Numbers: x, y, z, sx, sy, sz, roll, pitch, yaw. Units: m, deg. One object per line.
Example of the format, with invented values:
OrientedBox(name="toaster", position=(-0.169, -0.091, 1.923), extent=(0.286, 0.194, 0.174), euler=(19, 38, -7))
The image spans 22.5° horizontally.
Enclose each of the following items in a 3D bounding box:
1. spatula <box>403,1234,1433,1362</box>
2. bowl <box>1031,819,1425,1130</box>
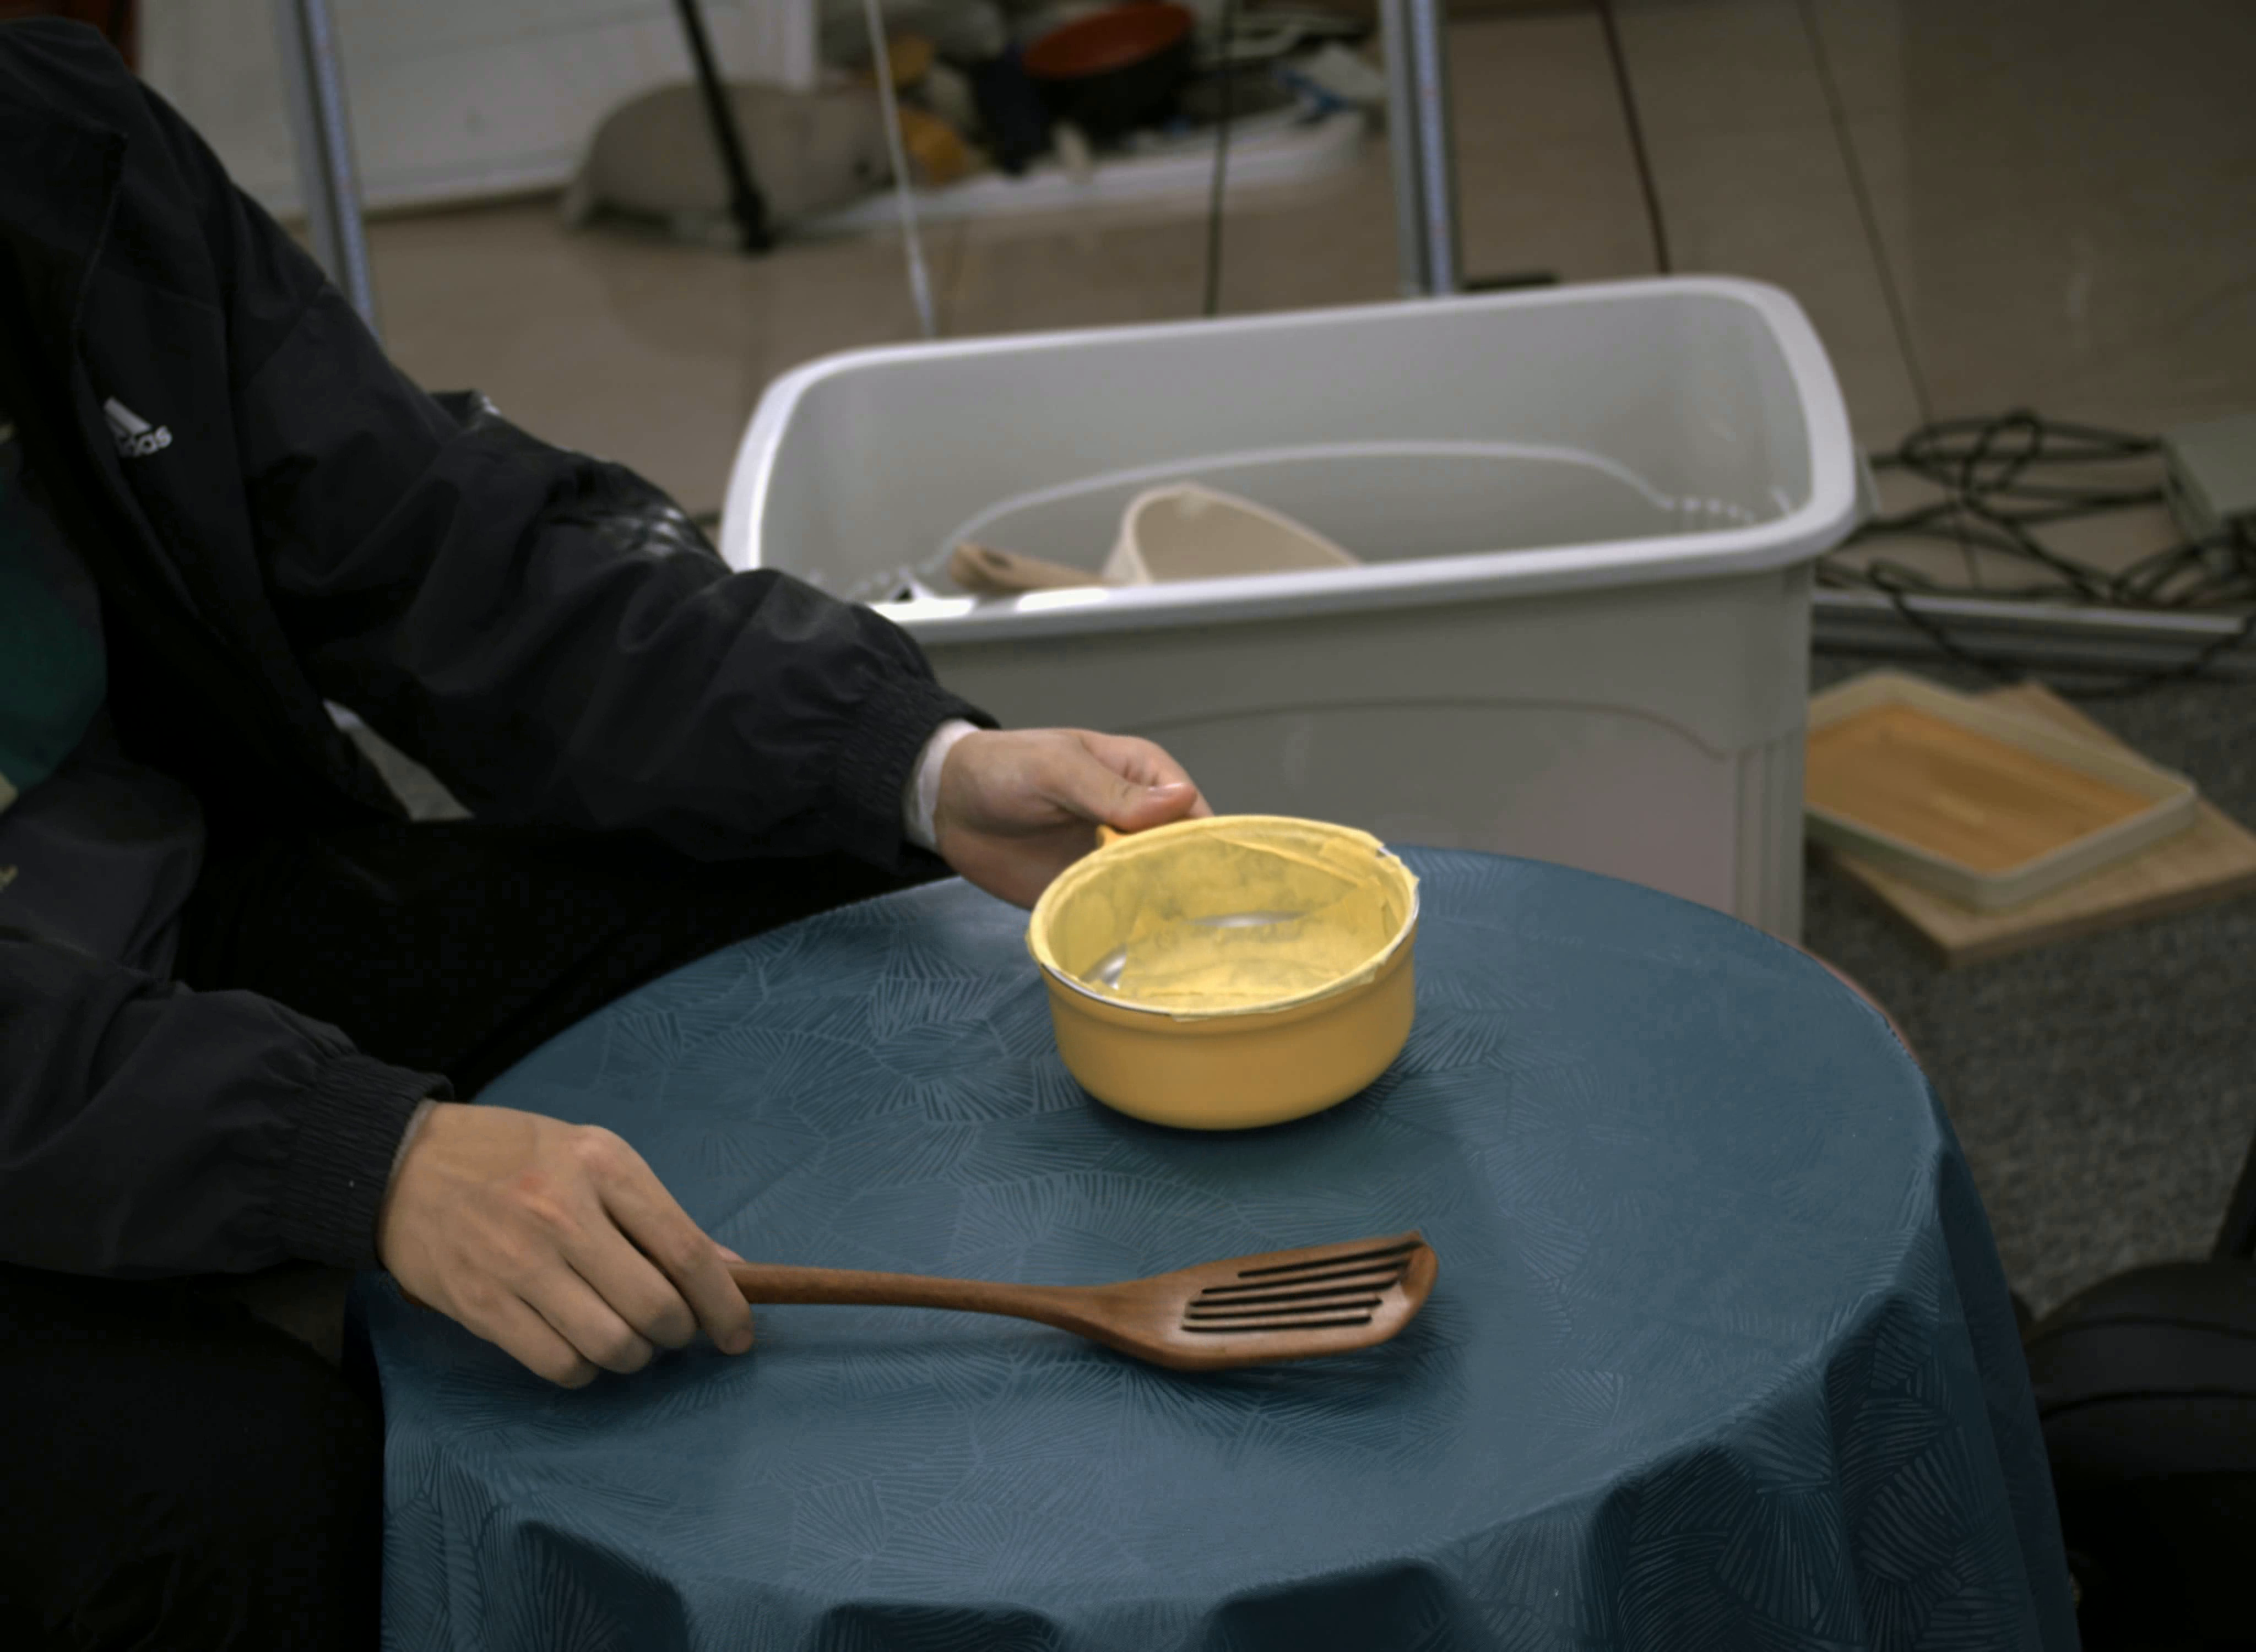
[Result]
OrientedBox(name="spatula", position=(-0.081, 0.168, 2.060), extent=(0.386, 0.024, 0.084), euler=(1, 22, 14))
OrientedBox(name="bowl", position=(0.036, 0.056, 2.227), extent=(0.152, 0.075, 0.177), euler=(-19, 32, -21))
